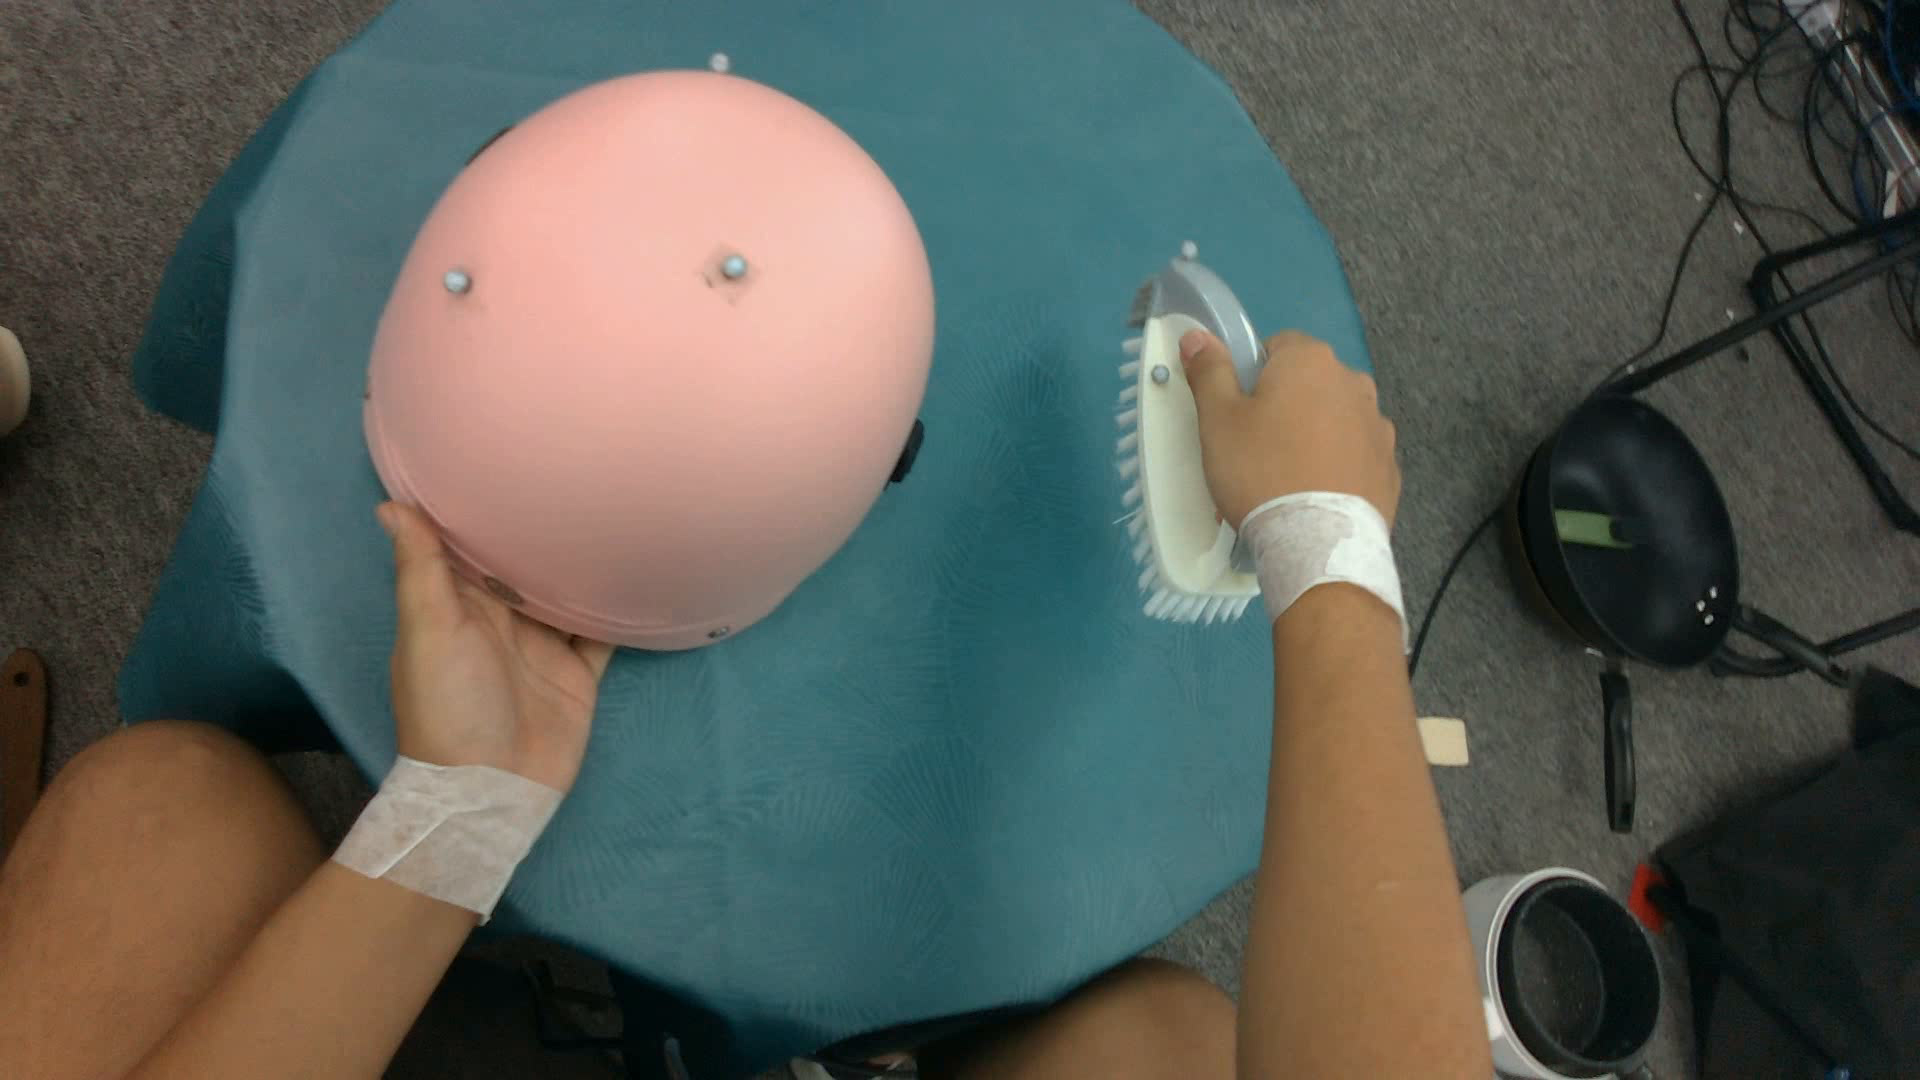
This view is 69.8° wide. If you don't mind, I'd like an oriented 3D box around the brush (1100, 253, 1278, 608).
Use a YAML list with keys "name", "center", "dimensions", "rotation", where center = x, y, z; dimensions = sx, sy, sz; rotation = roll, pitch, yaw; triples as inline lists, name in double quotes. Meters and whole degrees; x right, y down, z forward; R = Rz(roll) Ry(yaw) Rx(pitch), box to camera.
- name: "brush"
  center: [0.106, -0.065, 0.632]
  dimensions: [0.061, 0.094, 0.176]
  rotation: [5, 65, -19]

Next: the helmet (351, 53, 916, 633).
- name: "helmet"
  center: [-0.116, -0.103, 0.572]
  dimensions: [0.234, 0.158, 0.267]
  rotation: [34, 61, -11]
